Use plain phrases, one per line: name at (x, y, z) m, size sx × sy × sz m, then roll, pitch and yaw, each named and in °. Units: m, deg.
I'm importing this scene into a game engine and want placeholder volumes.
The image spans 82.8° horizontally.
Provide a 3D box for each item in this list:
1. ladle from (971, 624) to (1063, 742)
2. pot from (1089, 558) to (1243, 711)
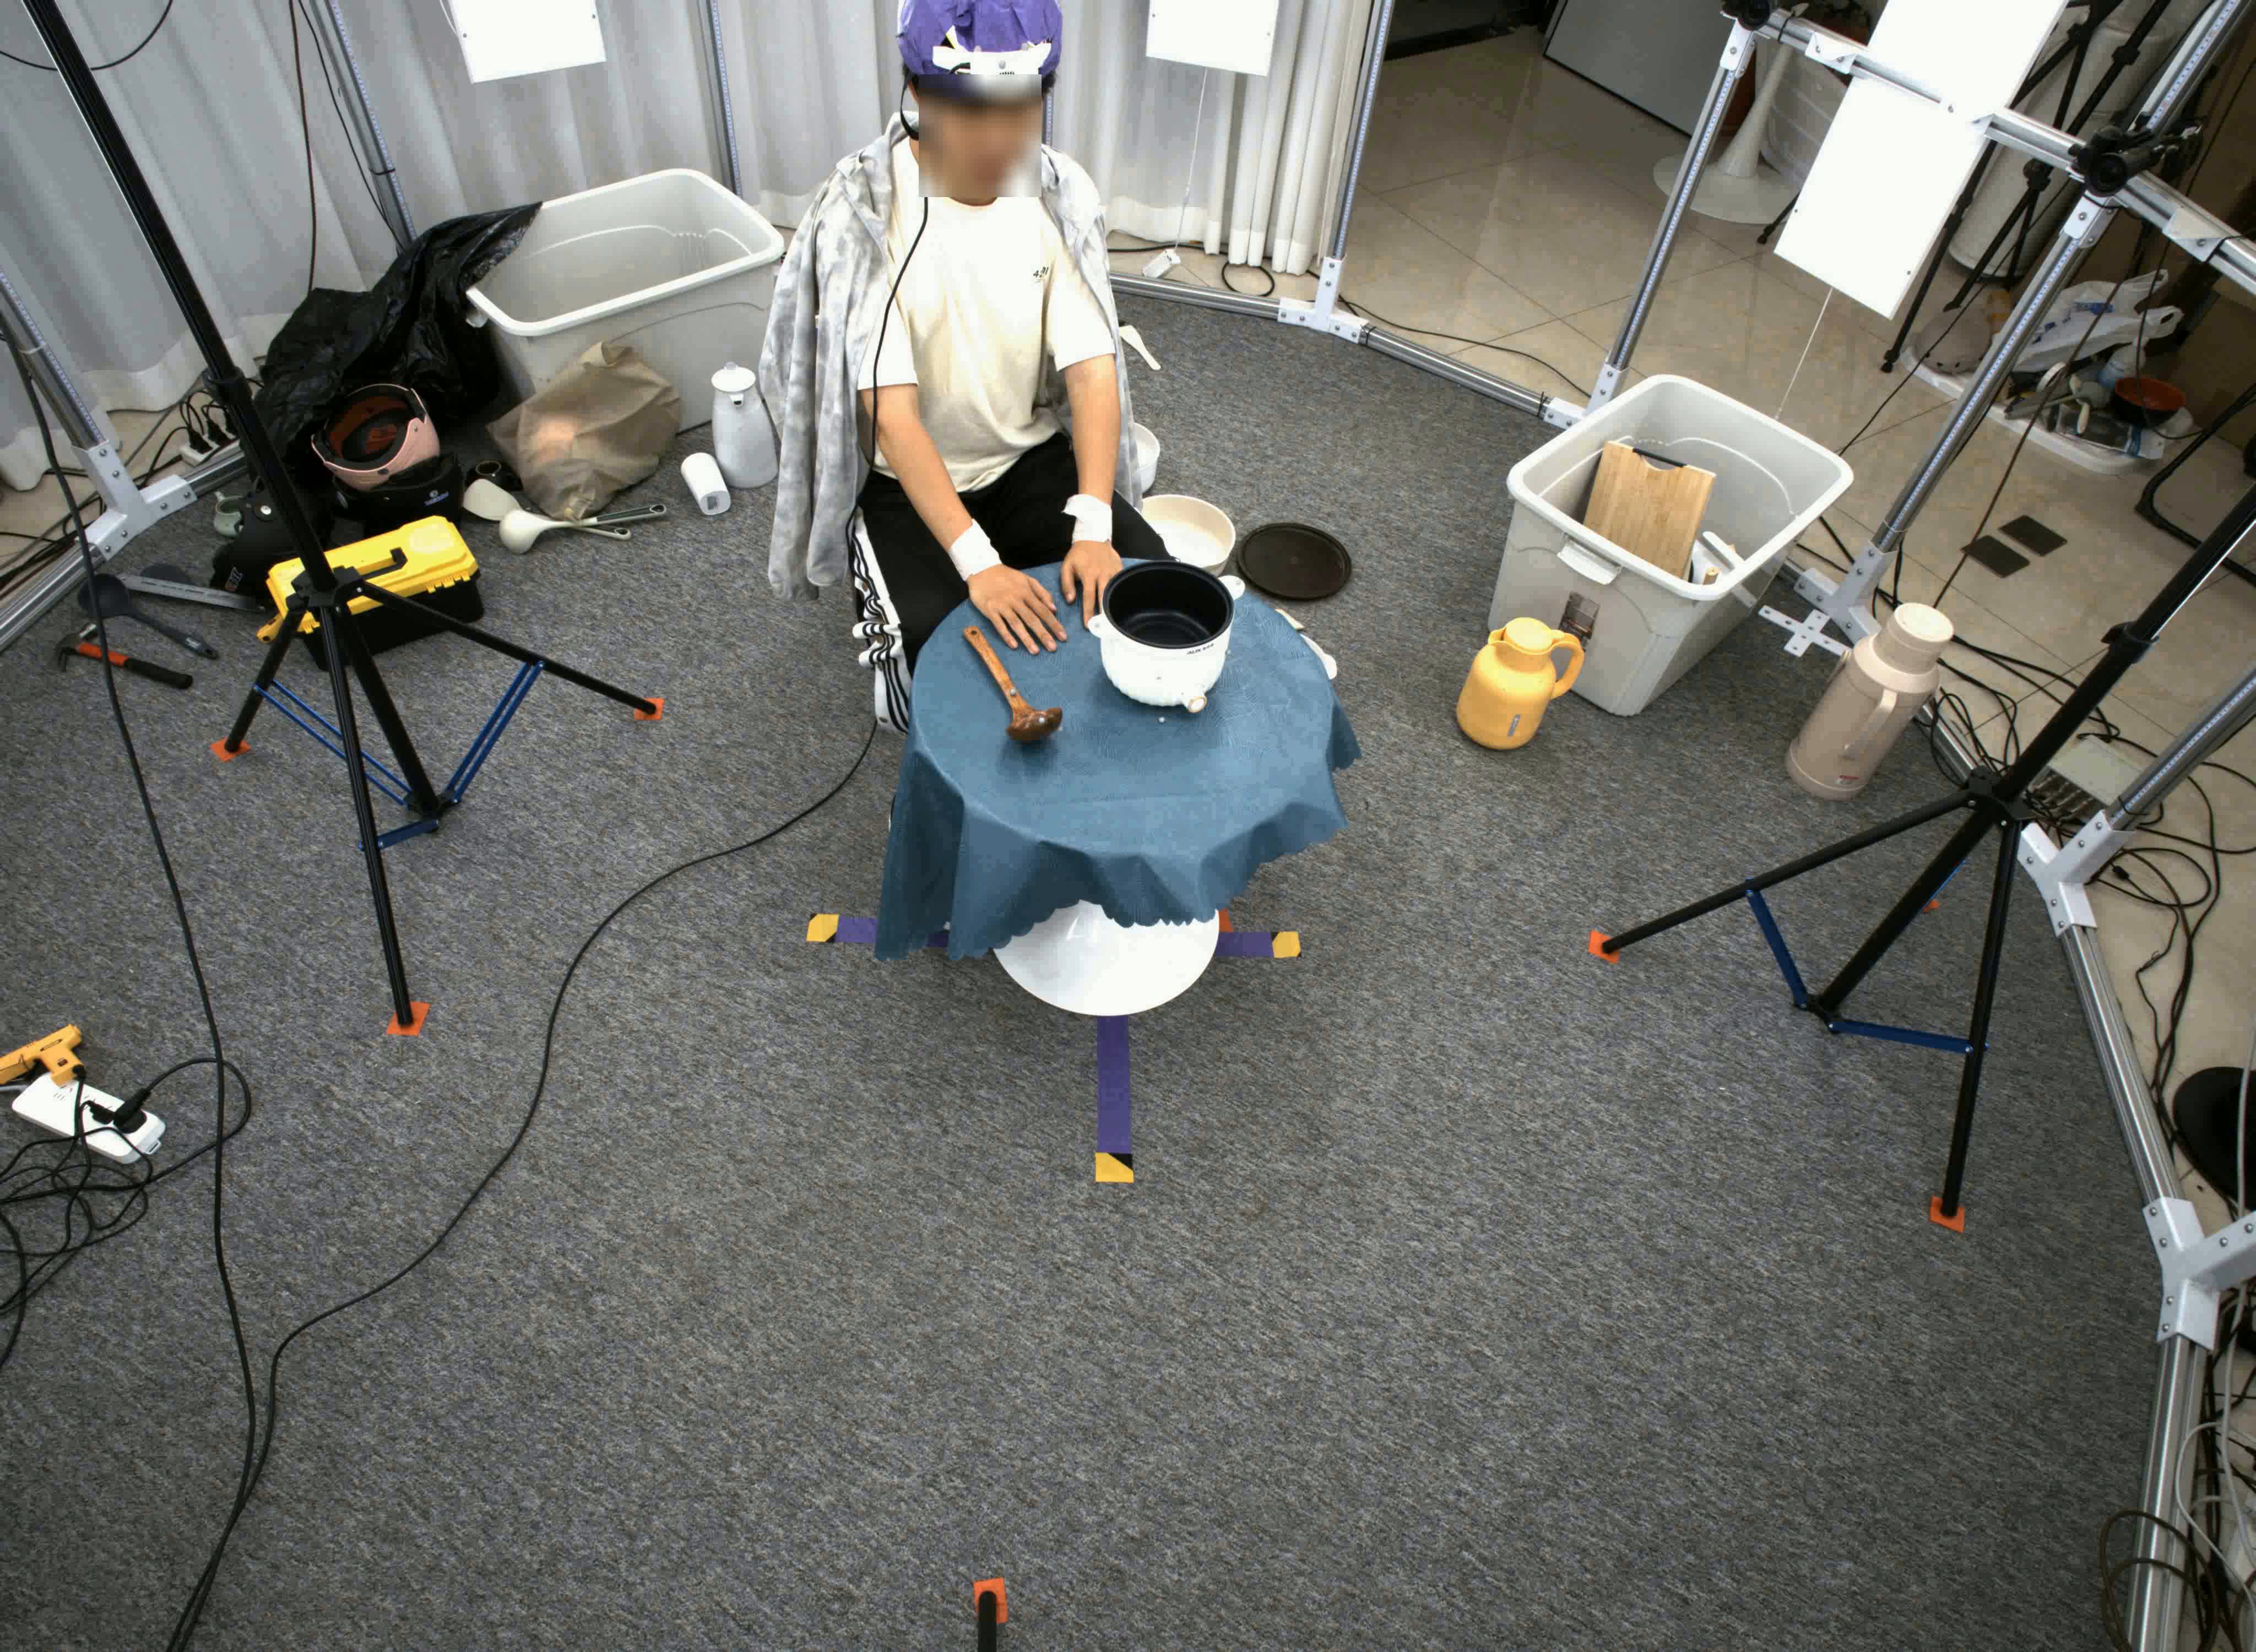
ladle at (-0.170, -0.214, 1.787) m, size 0.082 × 0.075 × 0.280 m, roll -18°, pitch 53°, yaw -15°
pot at (0.055, -0.262, 1.802) m, size 0.241 × 0.139 × 0.195 m, roll -21°, pitch 50°, yaw -20°
